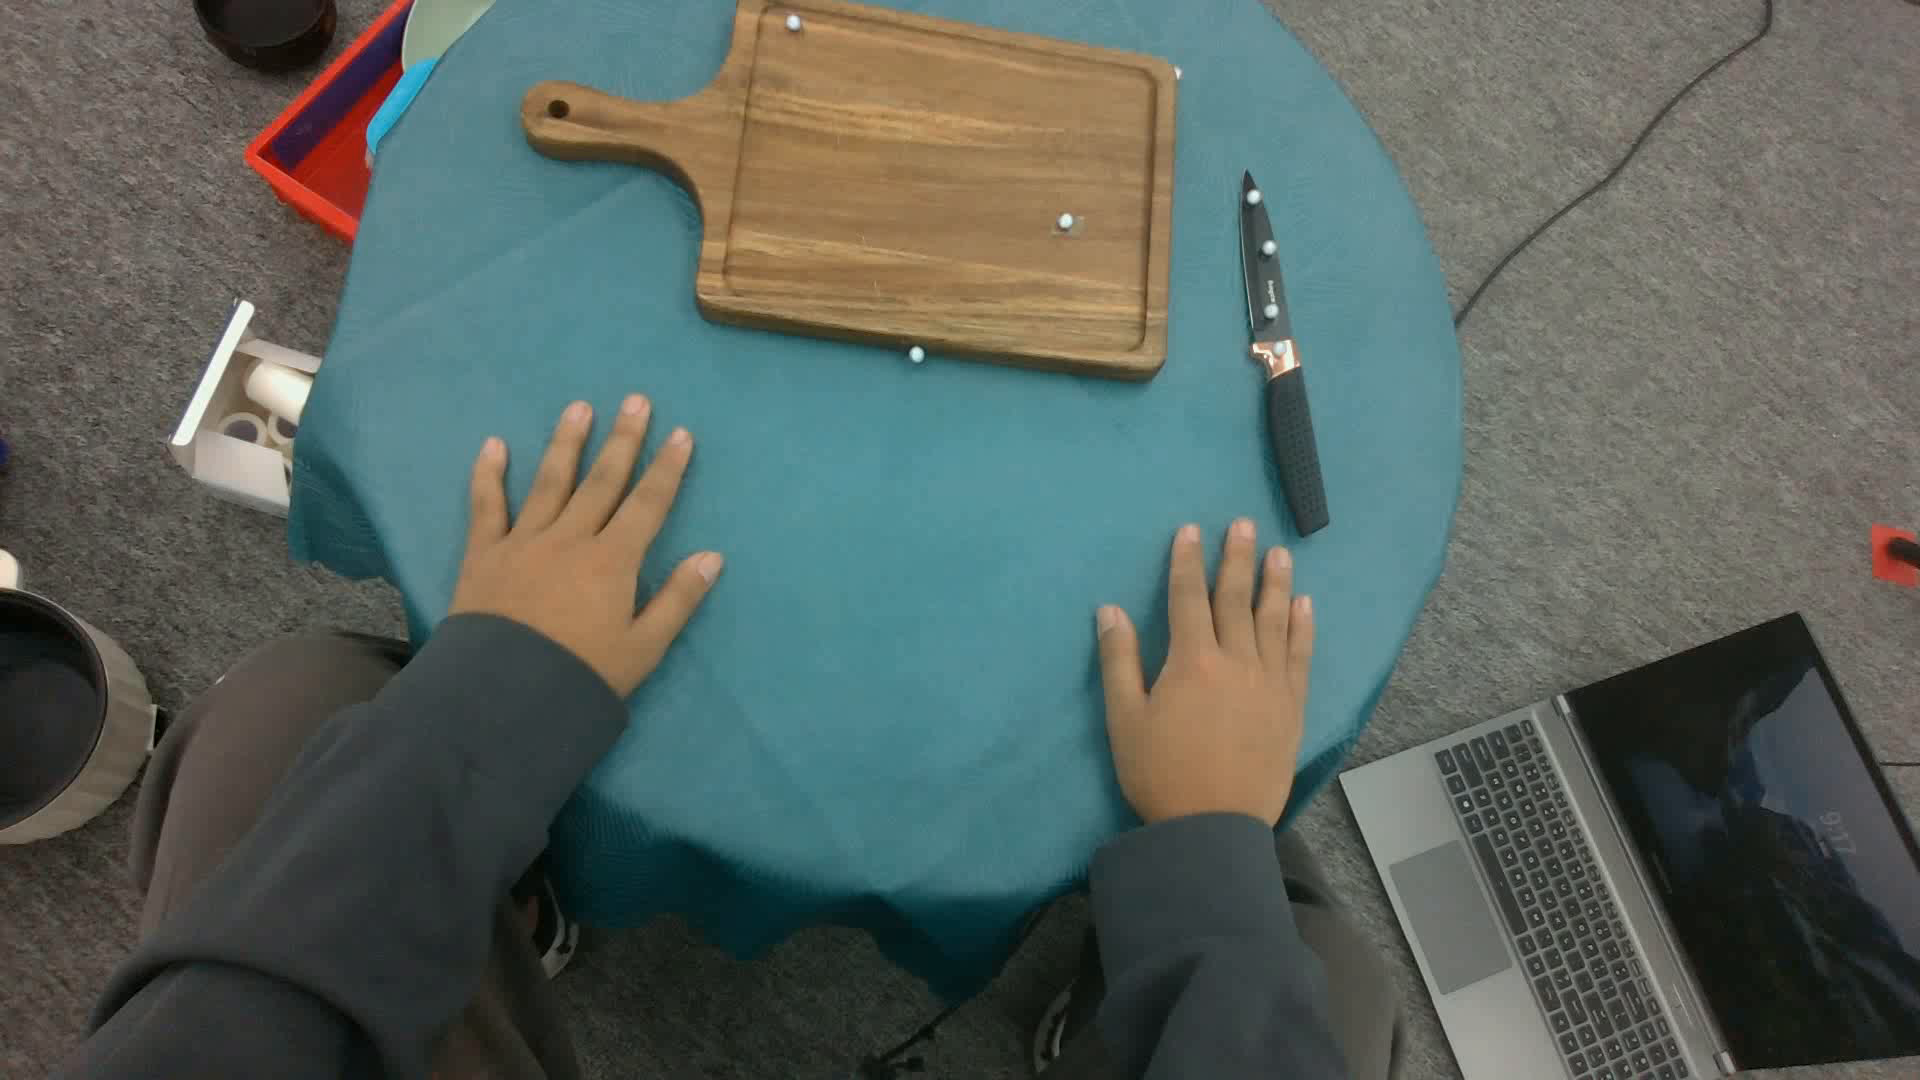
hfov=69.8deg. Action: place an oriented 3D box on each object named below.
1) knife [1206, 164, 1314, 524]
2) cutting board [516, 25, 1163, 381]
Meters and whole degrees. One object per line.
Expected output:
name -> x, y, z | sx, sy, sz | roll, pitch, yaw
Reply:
knife -> 0.168, -0.115, 0.774 | 0.026, 0.017, 0.226 | -7, 72, -3
cutting board -> -0.063, -0.192, 0.760 | 0.352, 0.023, 0.201 | 4, 71, -7
